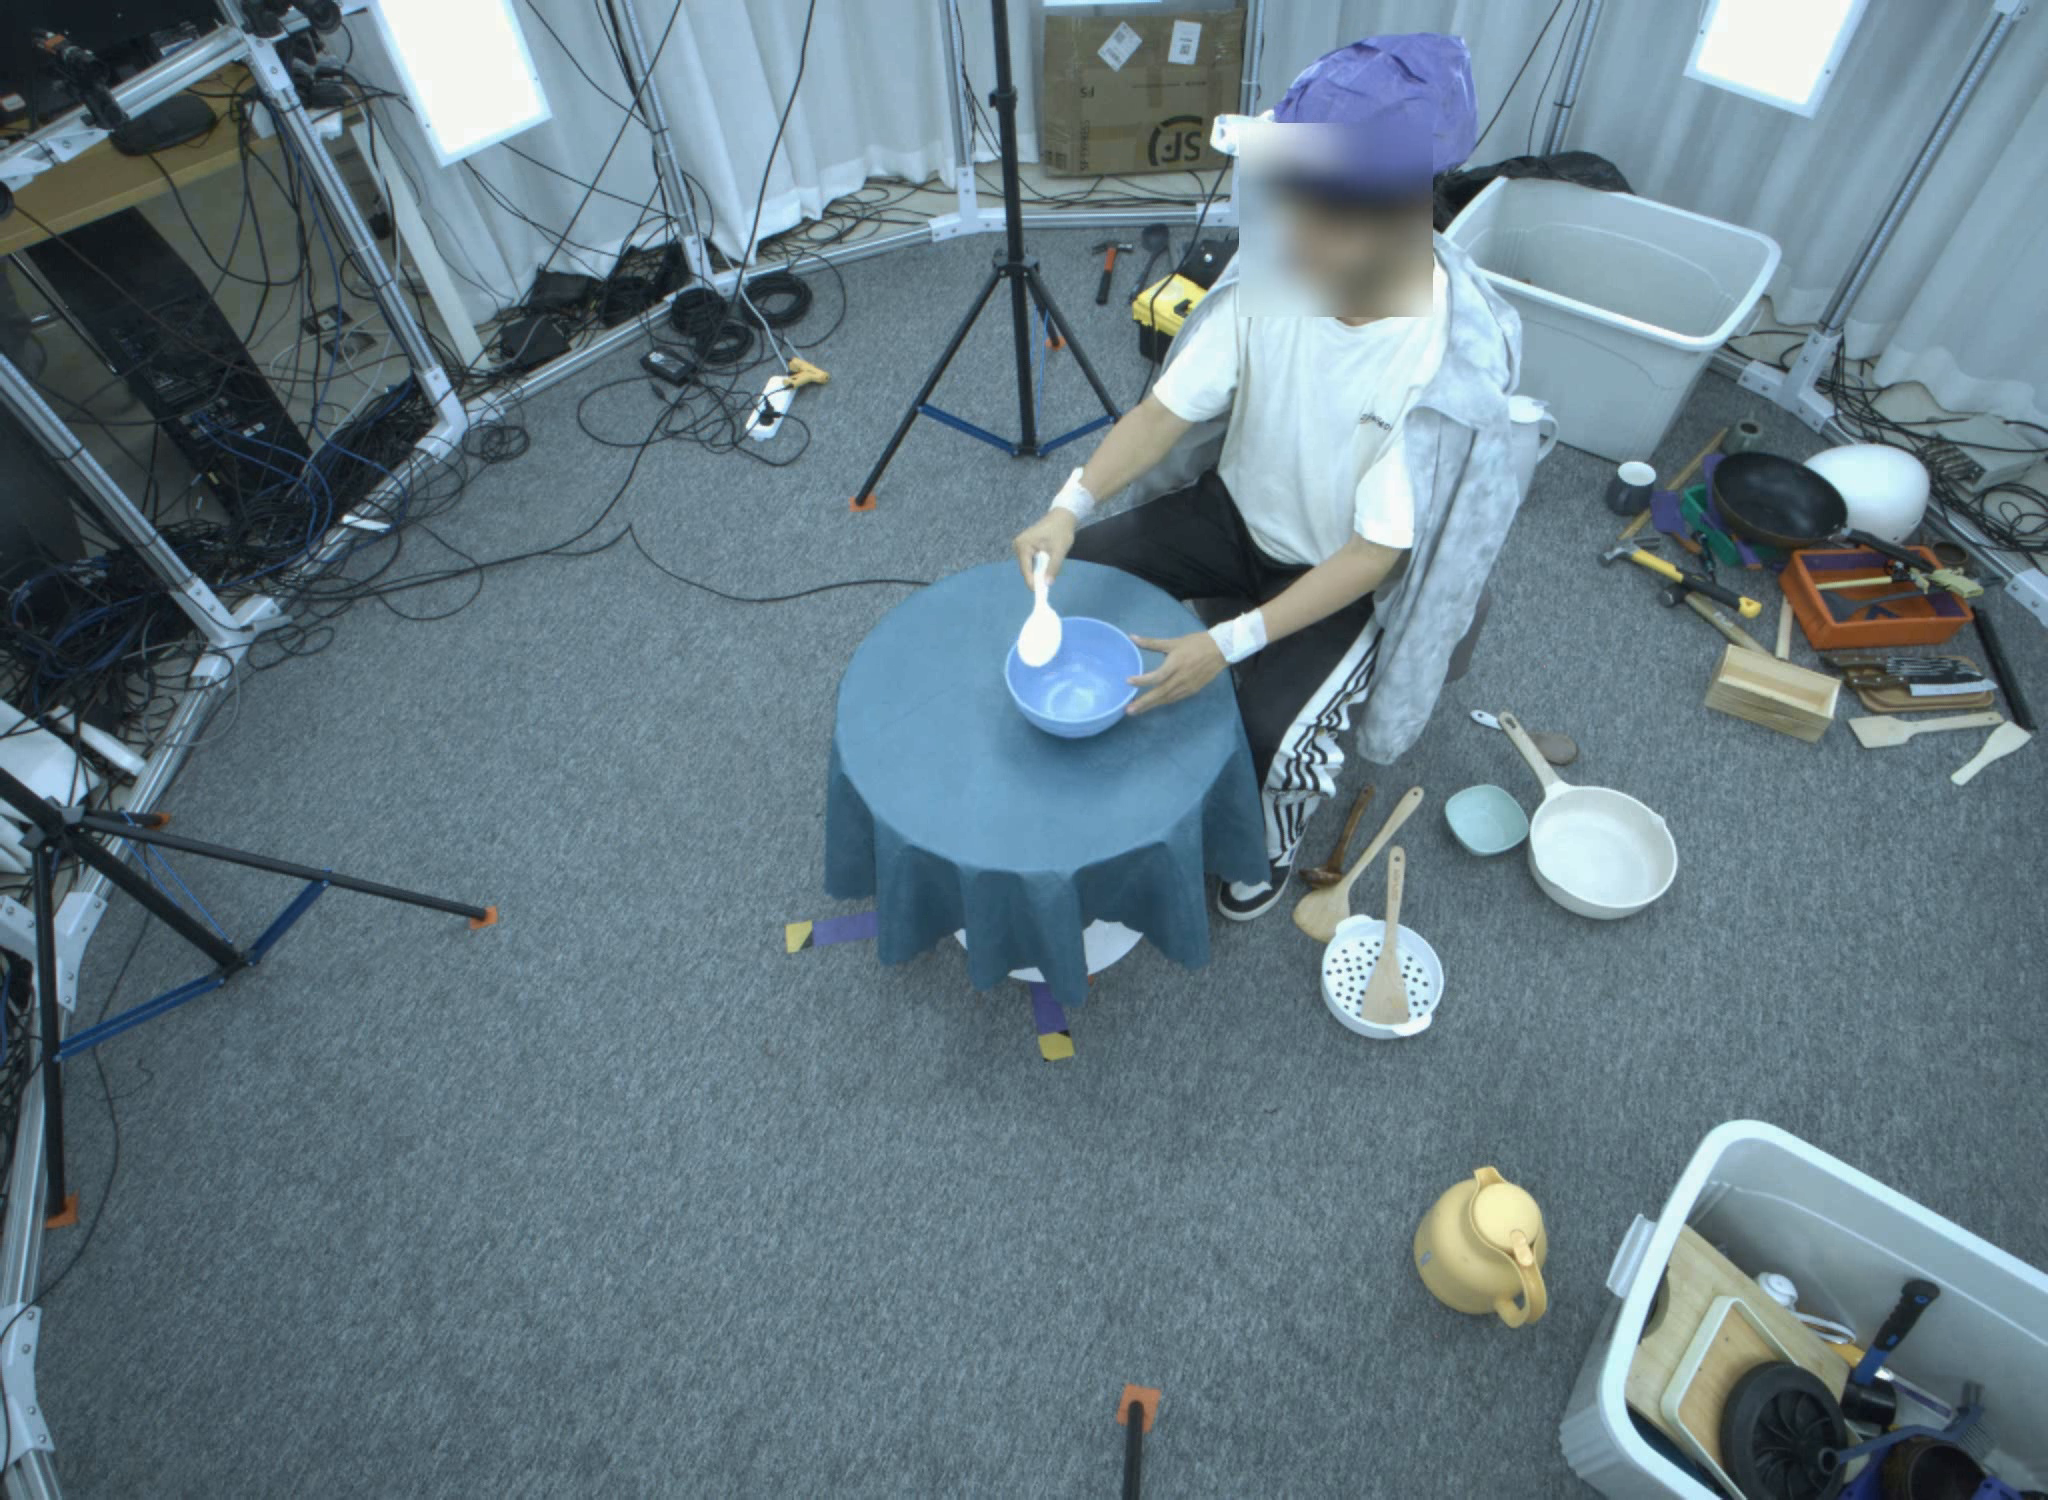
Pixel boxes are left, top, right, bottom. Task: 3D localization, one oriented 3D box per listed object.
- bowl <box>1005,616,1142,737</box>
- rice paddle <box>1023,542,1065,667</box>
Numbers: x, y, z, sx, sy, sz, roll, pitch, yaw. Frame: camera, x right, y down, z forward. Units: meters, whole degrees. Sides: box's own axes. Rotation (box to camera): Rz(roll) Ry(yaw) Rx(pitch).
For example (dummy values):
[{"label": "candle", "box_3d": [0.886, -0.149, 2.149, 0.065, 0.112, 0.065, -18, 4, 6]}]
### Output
[{"label": "bowl", "box_3d": [0.074, -0.091, 1.792, 0.196, 0.096, 0.194, -1, 55, 3]}, {"label": "rice paddle", "box_3d": [0.028, -0.208, 1.751, 0.068, 0.030, 0.203, -14, 59, 26]}]
